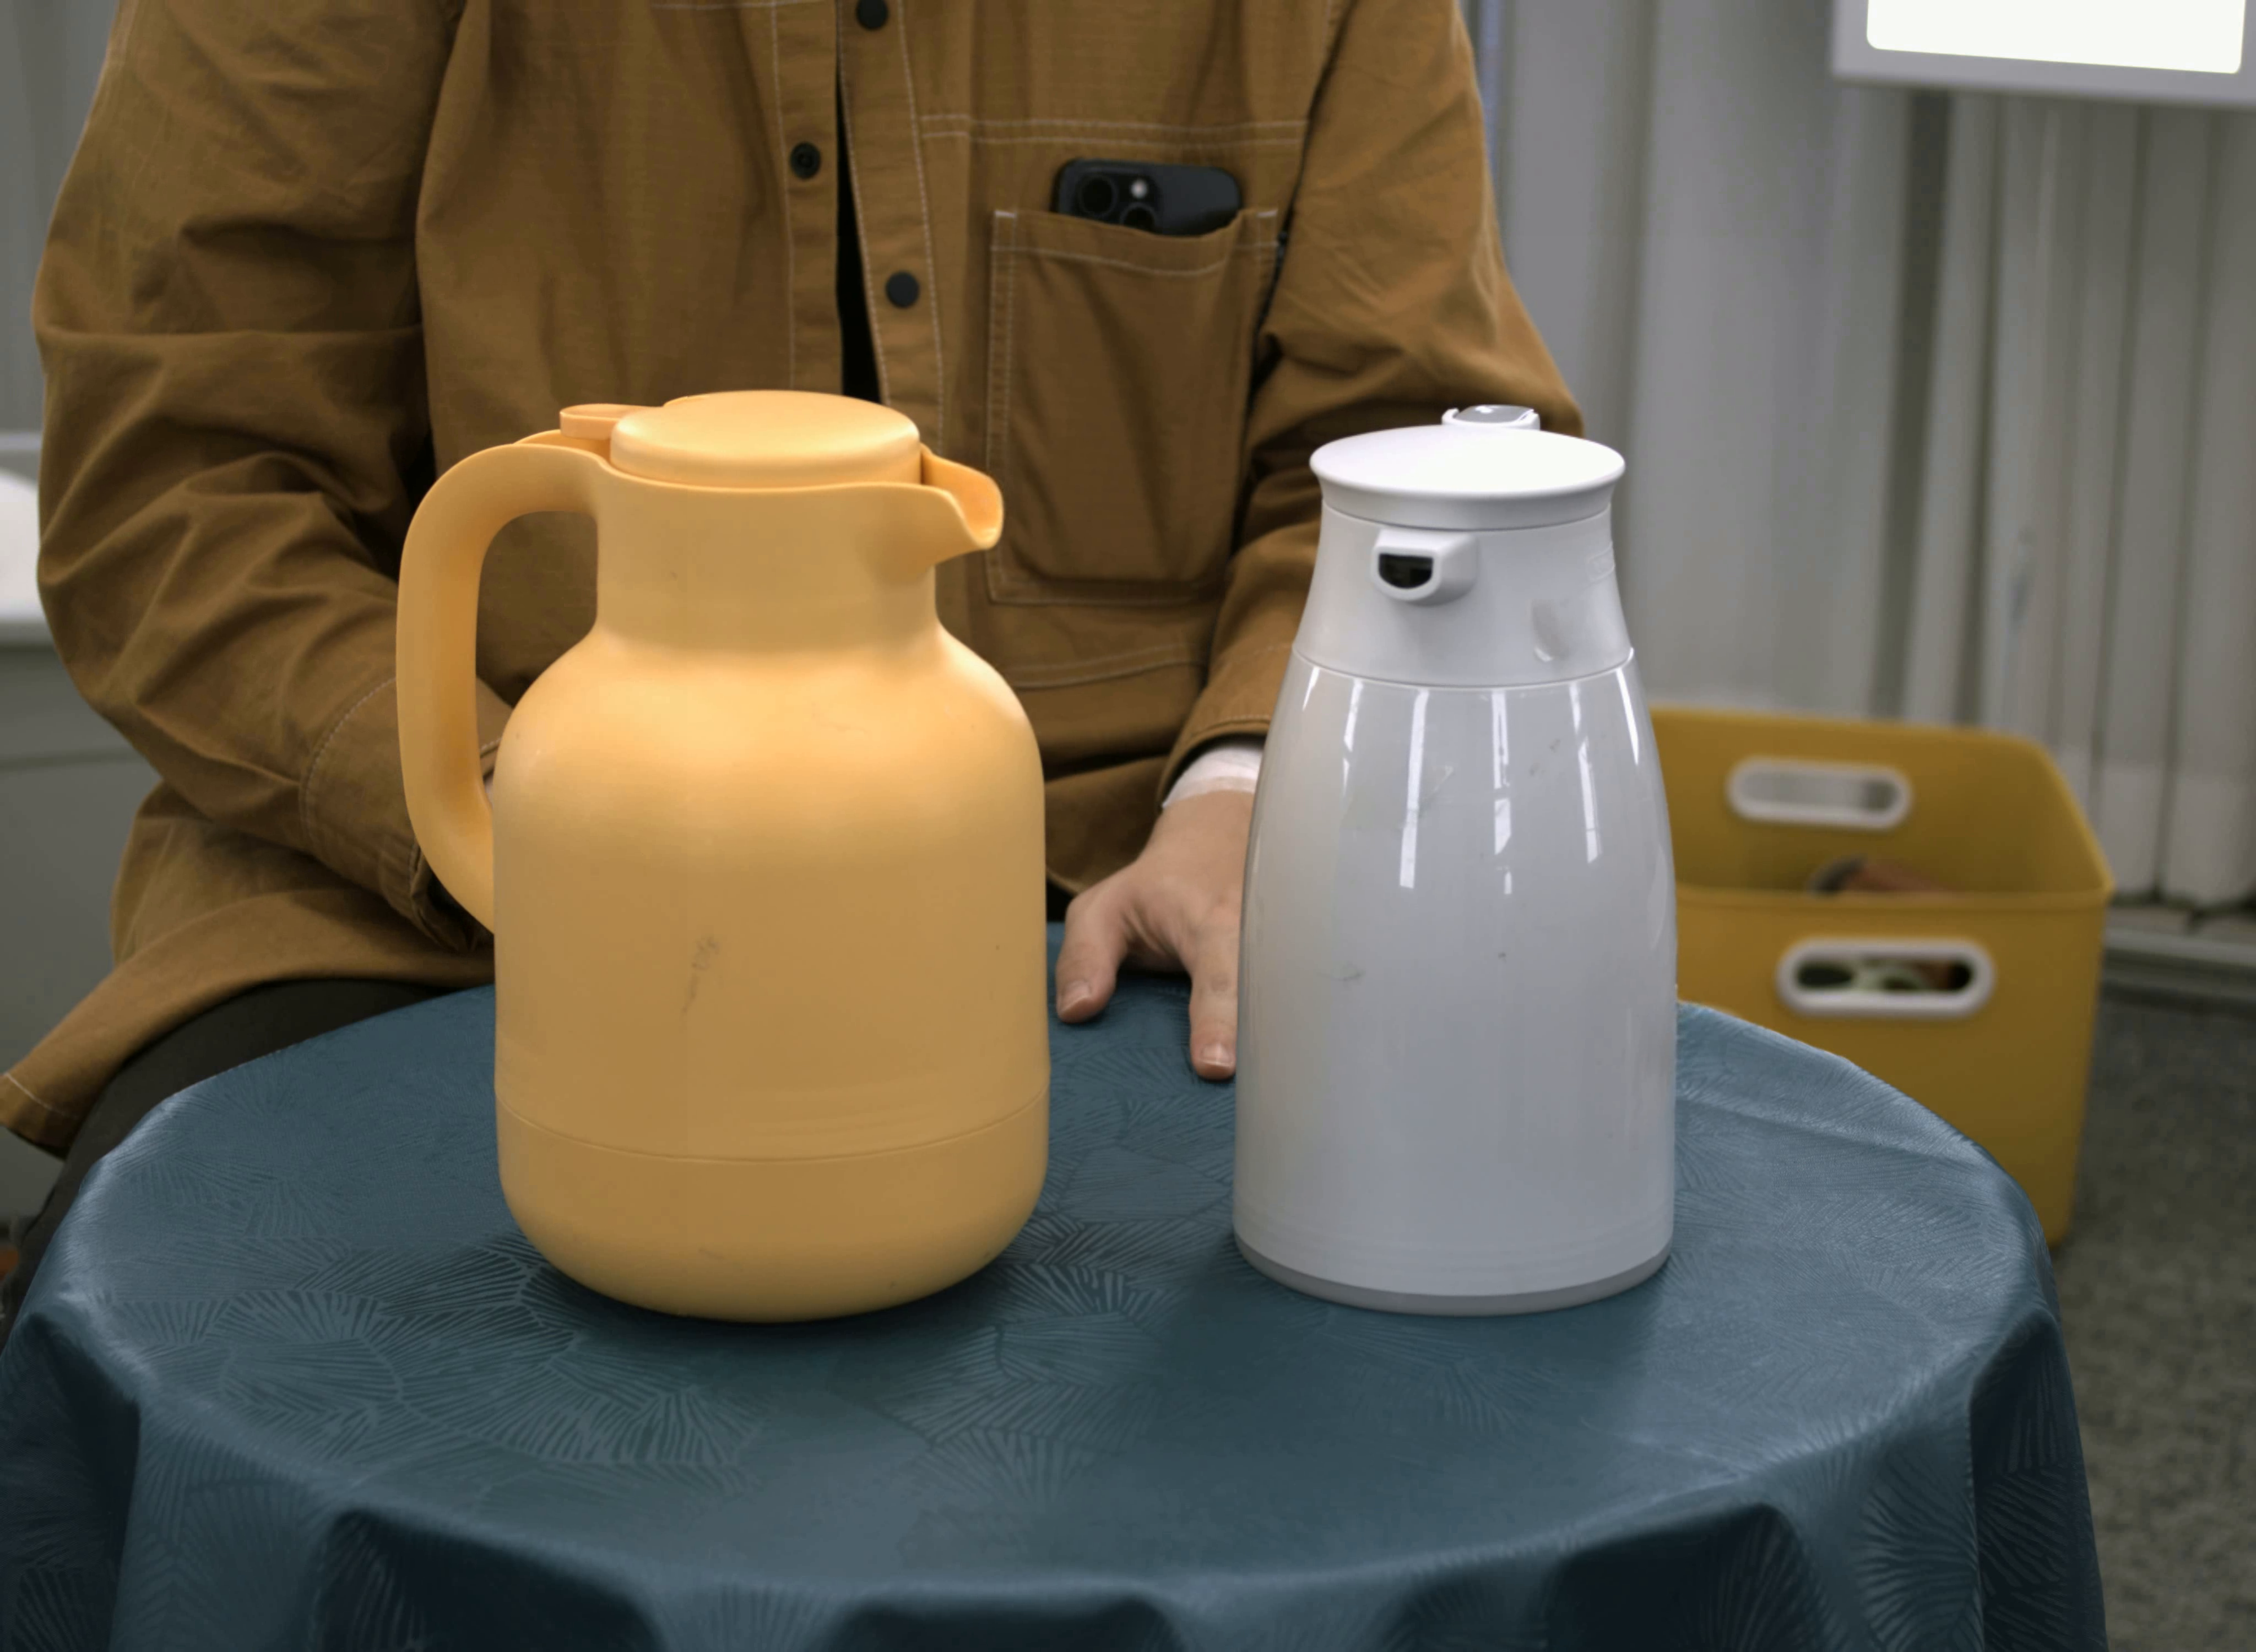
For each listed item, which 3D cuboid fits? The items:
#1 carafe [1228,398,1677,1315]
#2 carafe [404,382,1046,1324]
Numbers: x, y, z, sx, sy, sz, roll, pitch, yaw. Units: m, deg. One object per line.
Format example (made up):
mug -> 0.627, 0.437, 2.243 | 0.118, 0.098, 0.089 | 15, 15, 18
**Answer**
carafe -> 0.102, 0.000, 1.564 | 0.131, 0.250, 0.168 | 5, 16, 17
carafe -> -0.120, 0.001, 1.534 | 0.200, 0.262, 0.164 | 10, 17, 27
